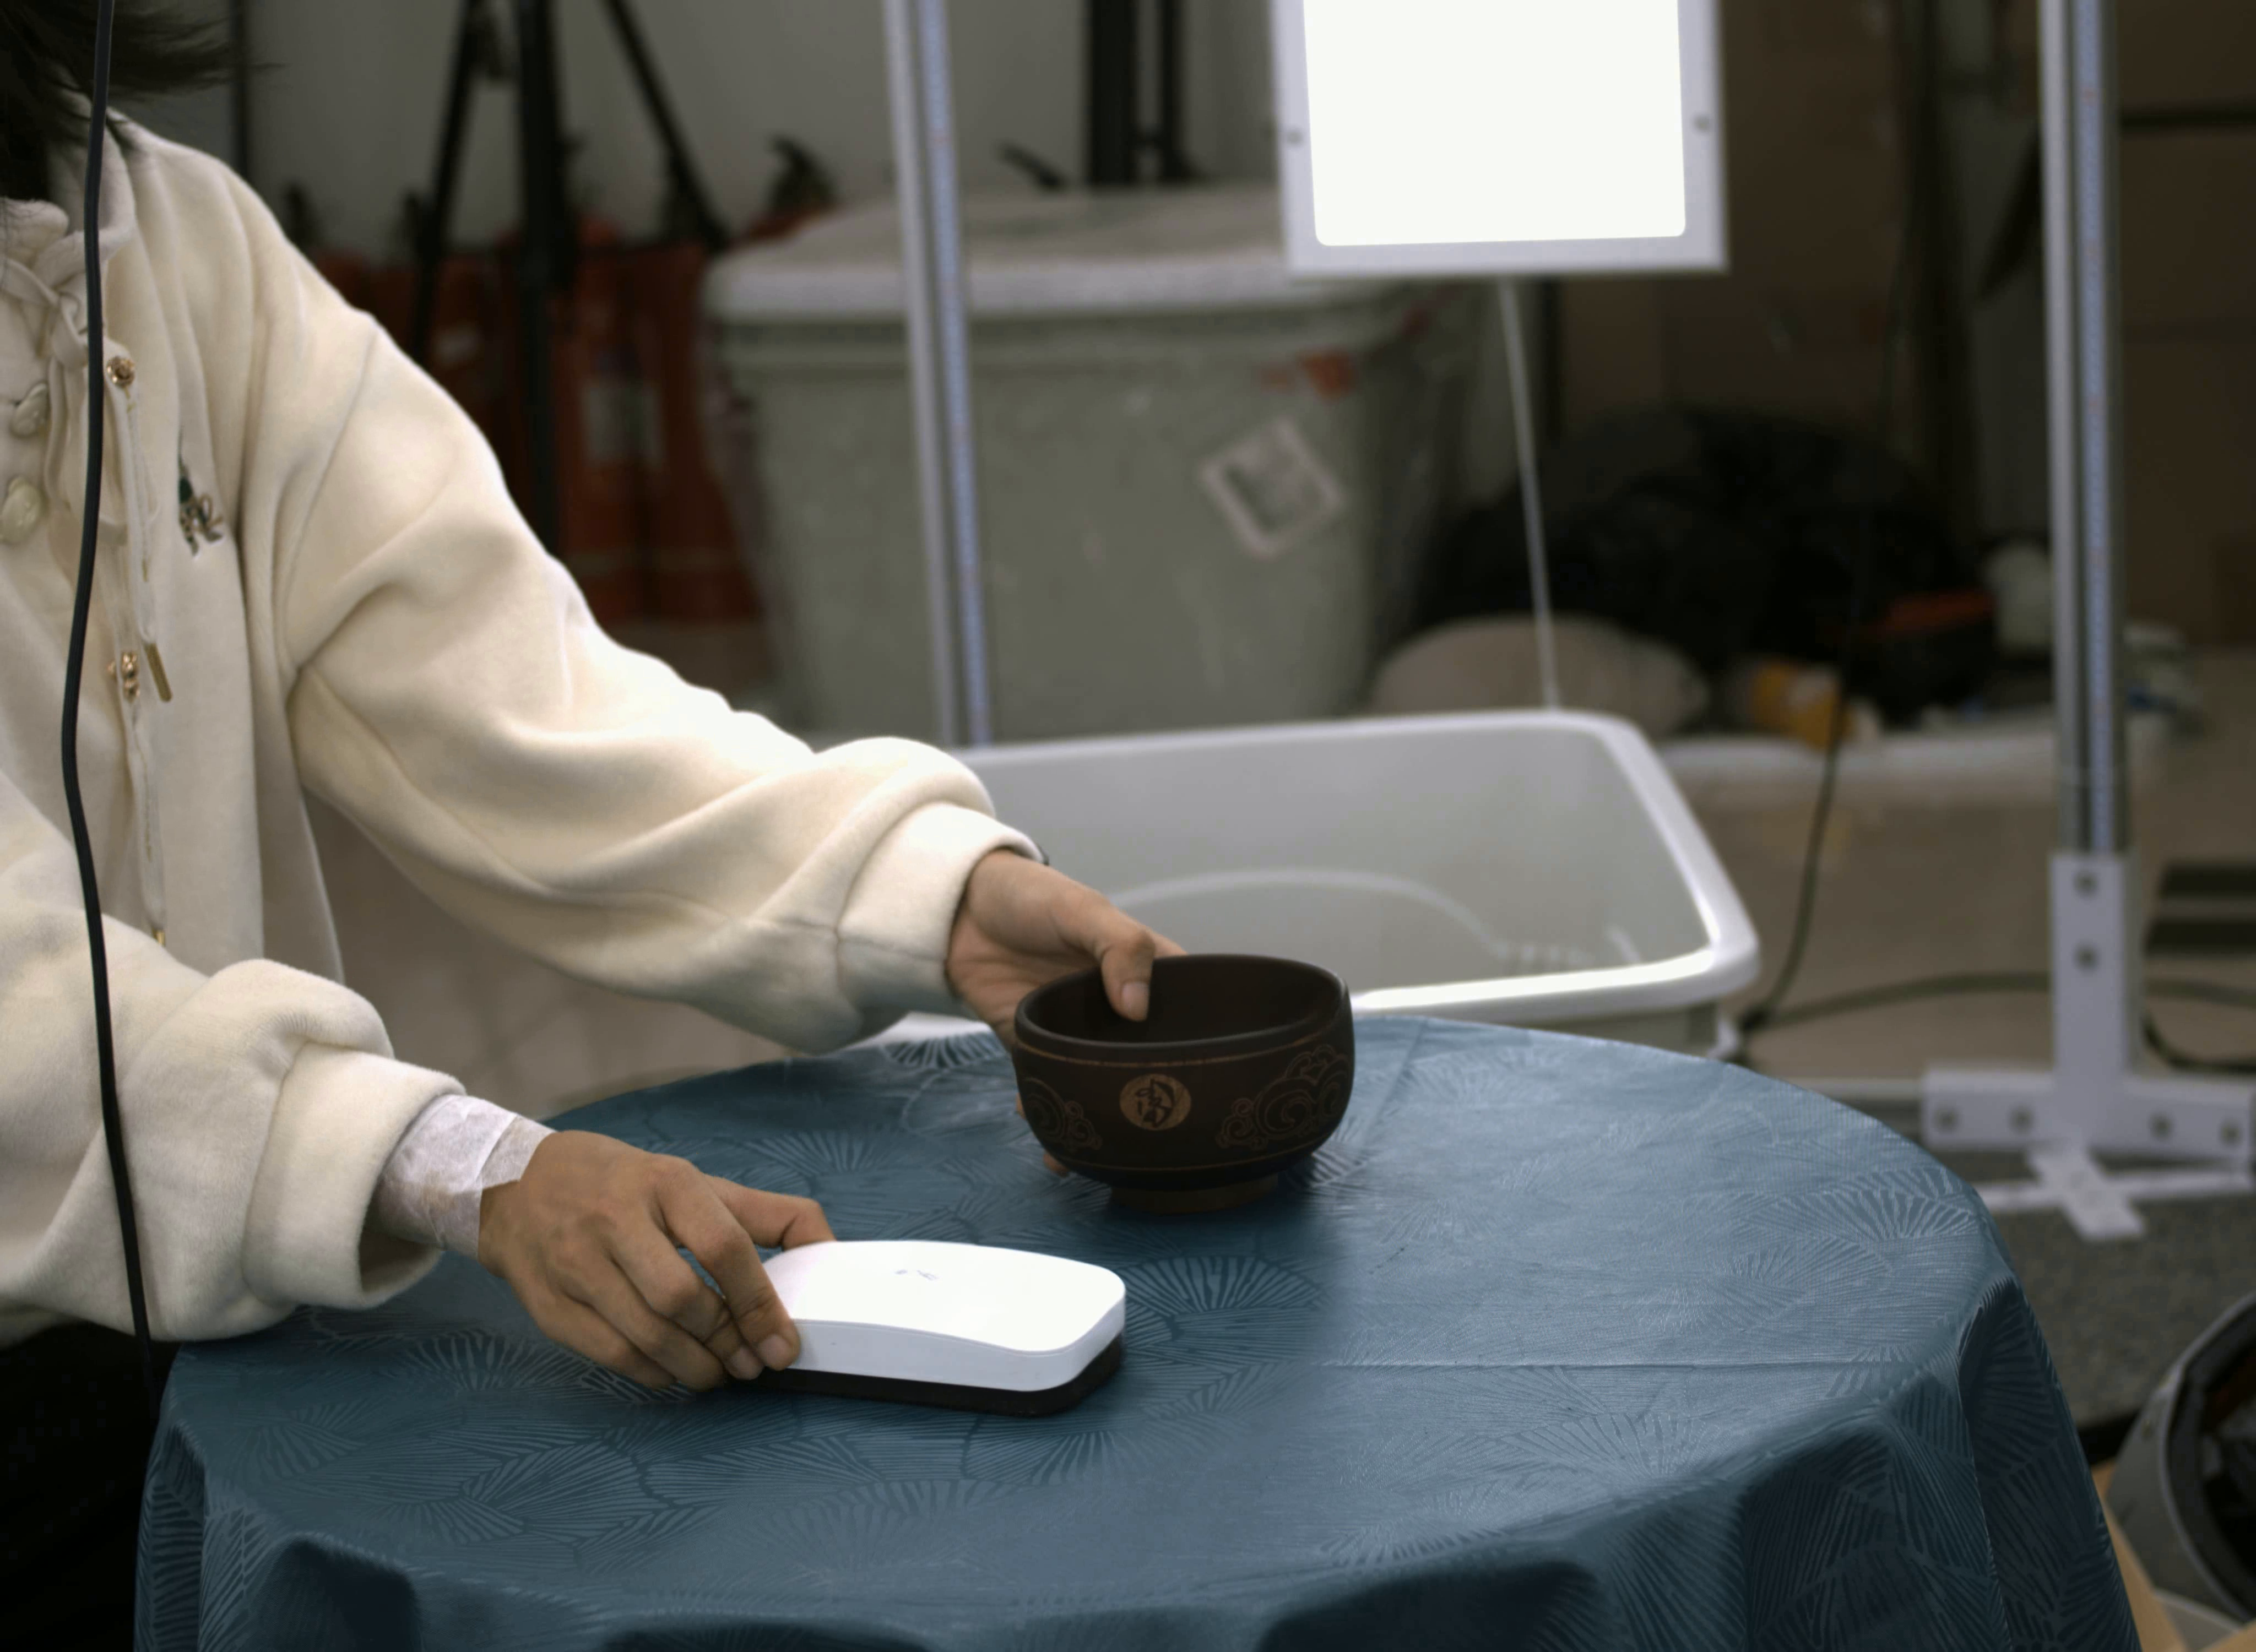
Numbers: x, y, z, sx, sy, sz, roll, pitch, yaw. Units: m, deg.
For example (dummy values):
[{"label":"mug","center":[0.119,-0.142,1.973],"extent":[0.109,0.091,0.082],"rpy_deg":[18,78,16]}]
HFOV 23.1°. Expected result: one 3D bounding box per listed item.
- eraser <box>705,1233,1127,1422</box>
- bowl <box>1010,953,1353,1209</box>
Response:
[{"label":"eraser","center":[-0.065,0.156,1.729],"extent":[0.133,0.034,0.062],"rpy_deg":[3,20,28]},{"label":"bowl","center":[0.020,0.090,1.887],"extent":[0.118,0.070,0.118],"rpy_deg":[-5,11,0]}]
